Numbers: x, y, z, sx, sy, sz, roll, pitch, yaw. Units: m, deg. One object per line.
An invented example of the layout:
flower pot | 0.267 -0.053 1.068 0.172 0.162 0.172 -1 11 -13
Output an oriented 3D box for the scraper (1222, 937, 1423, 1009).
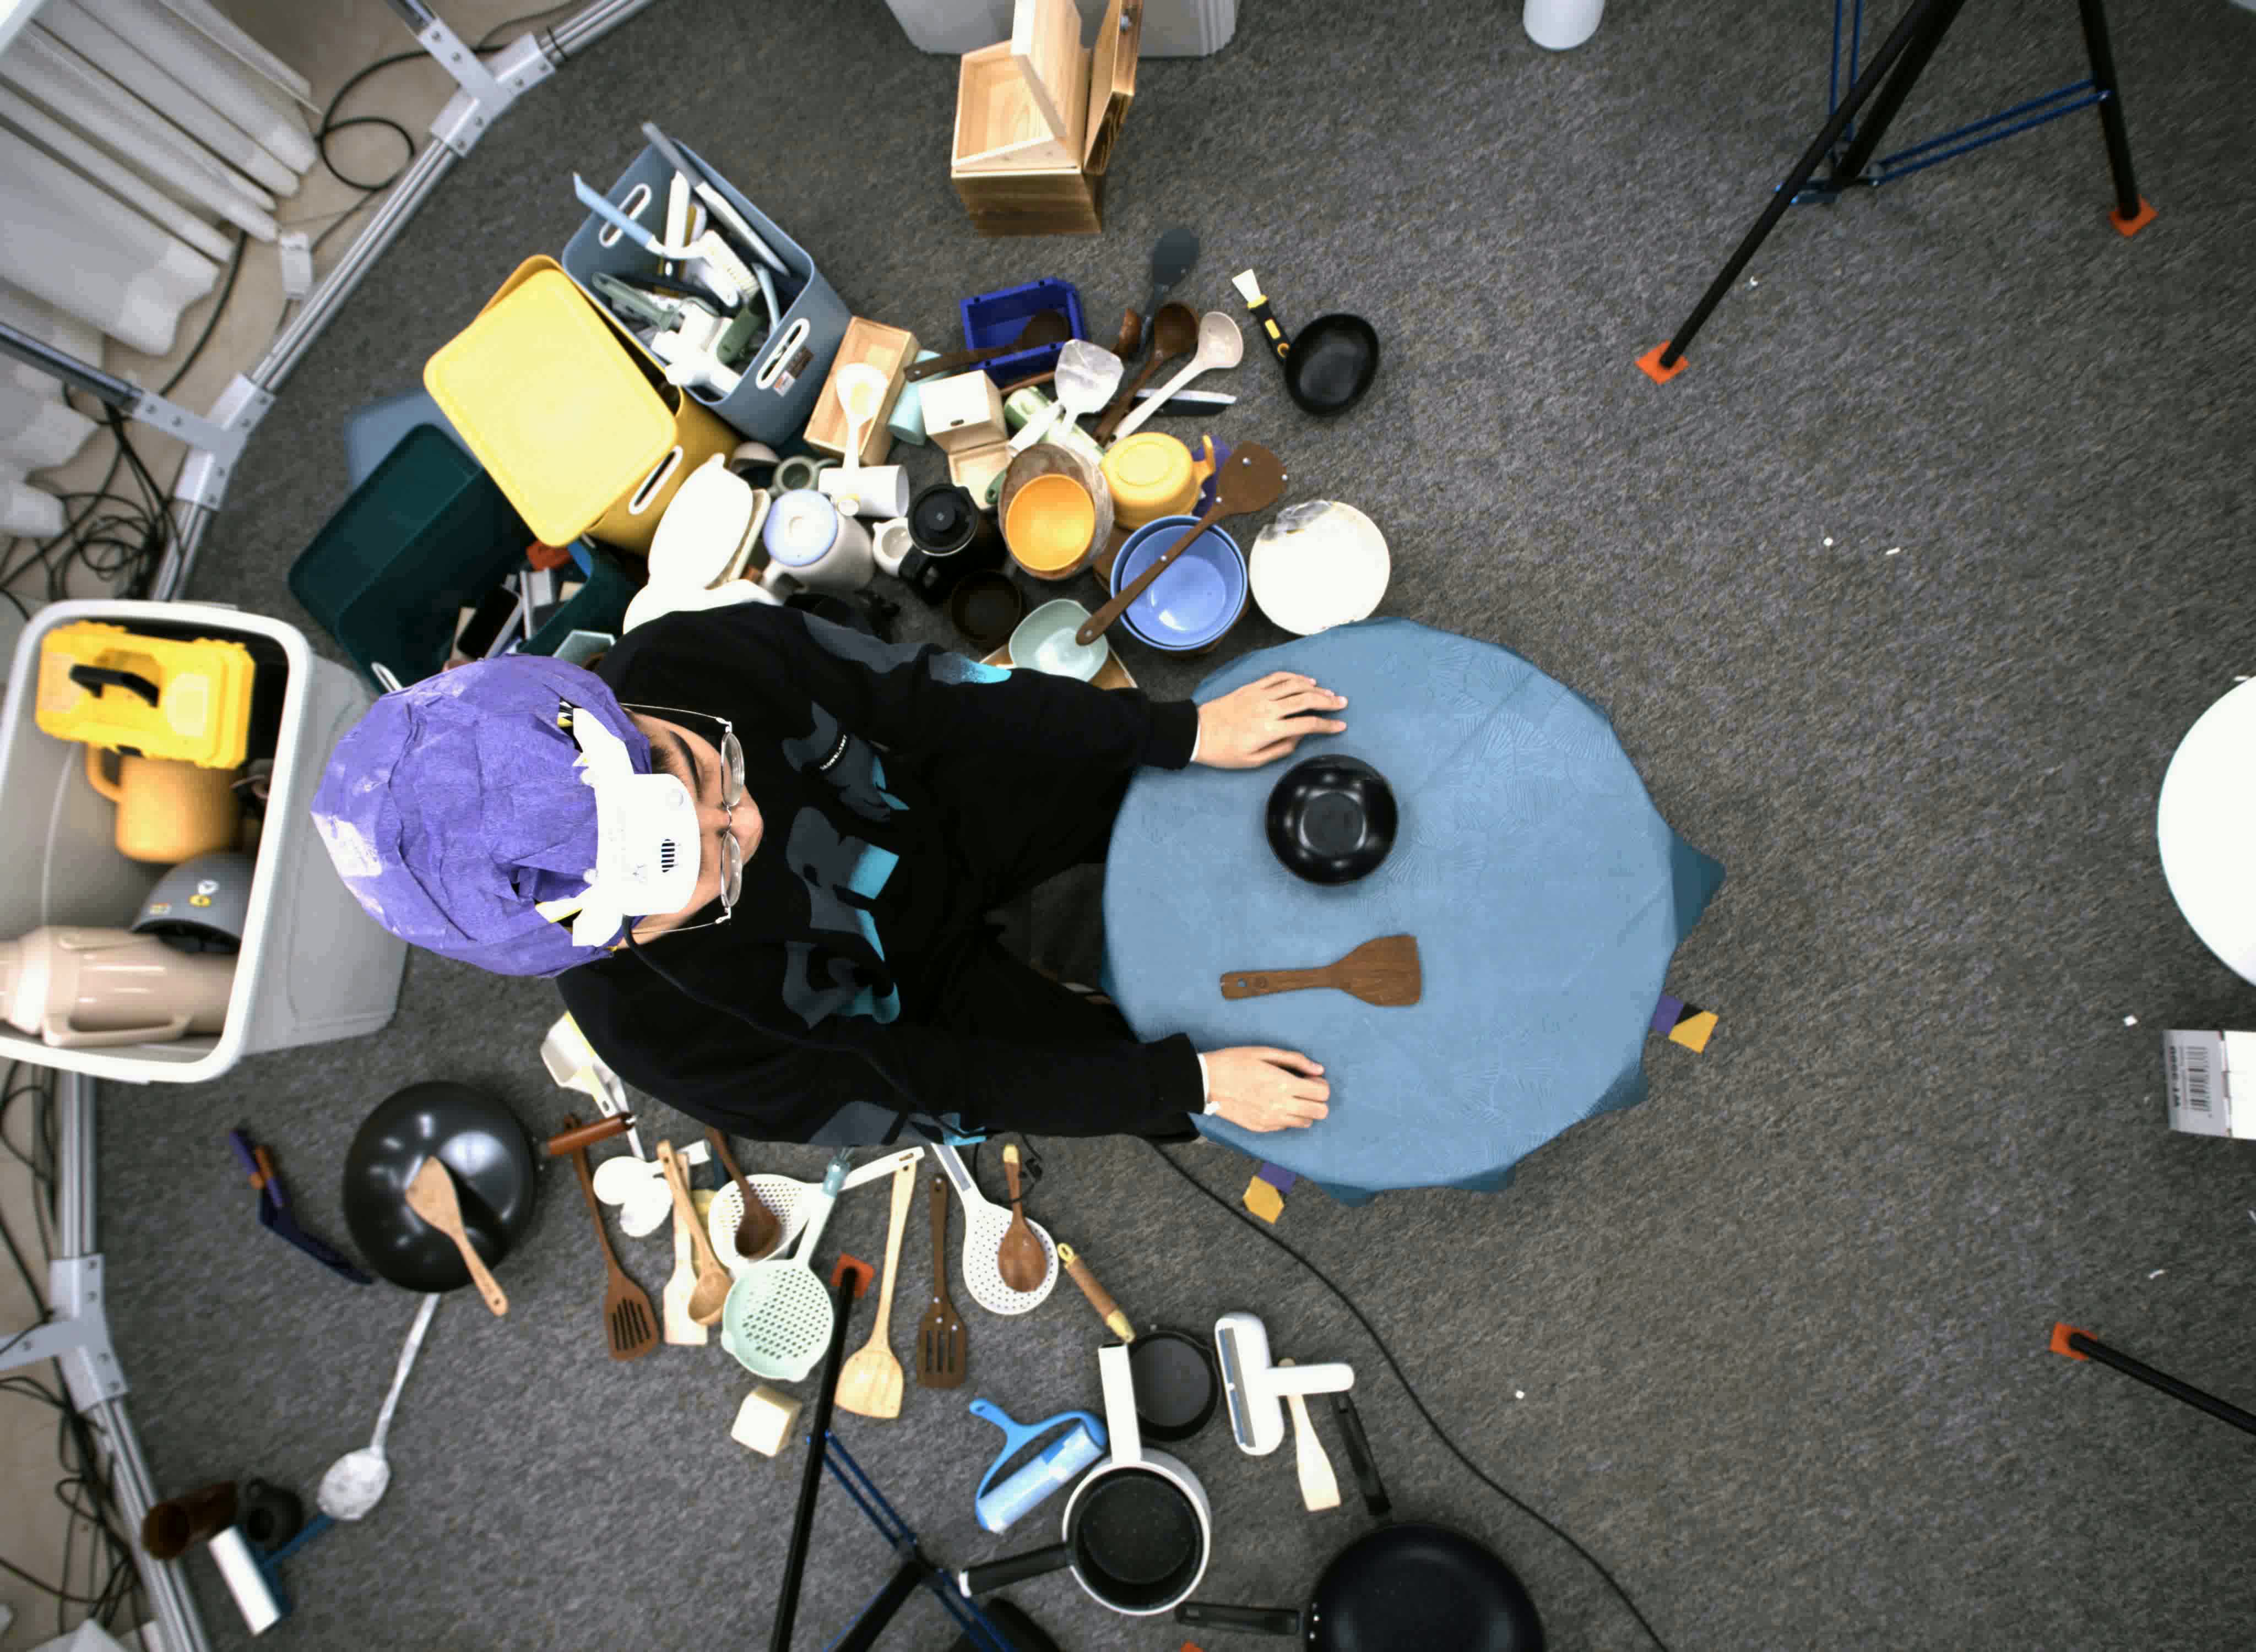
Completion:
scraper | 0.204 0.162 1.467 0.212 0.011 0.075 -6 84 11

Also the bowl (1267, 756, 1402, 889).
bowl | 0.218 -0.004 1.455 0.140 0.049 0.139 -1 89 11
